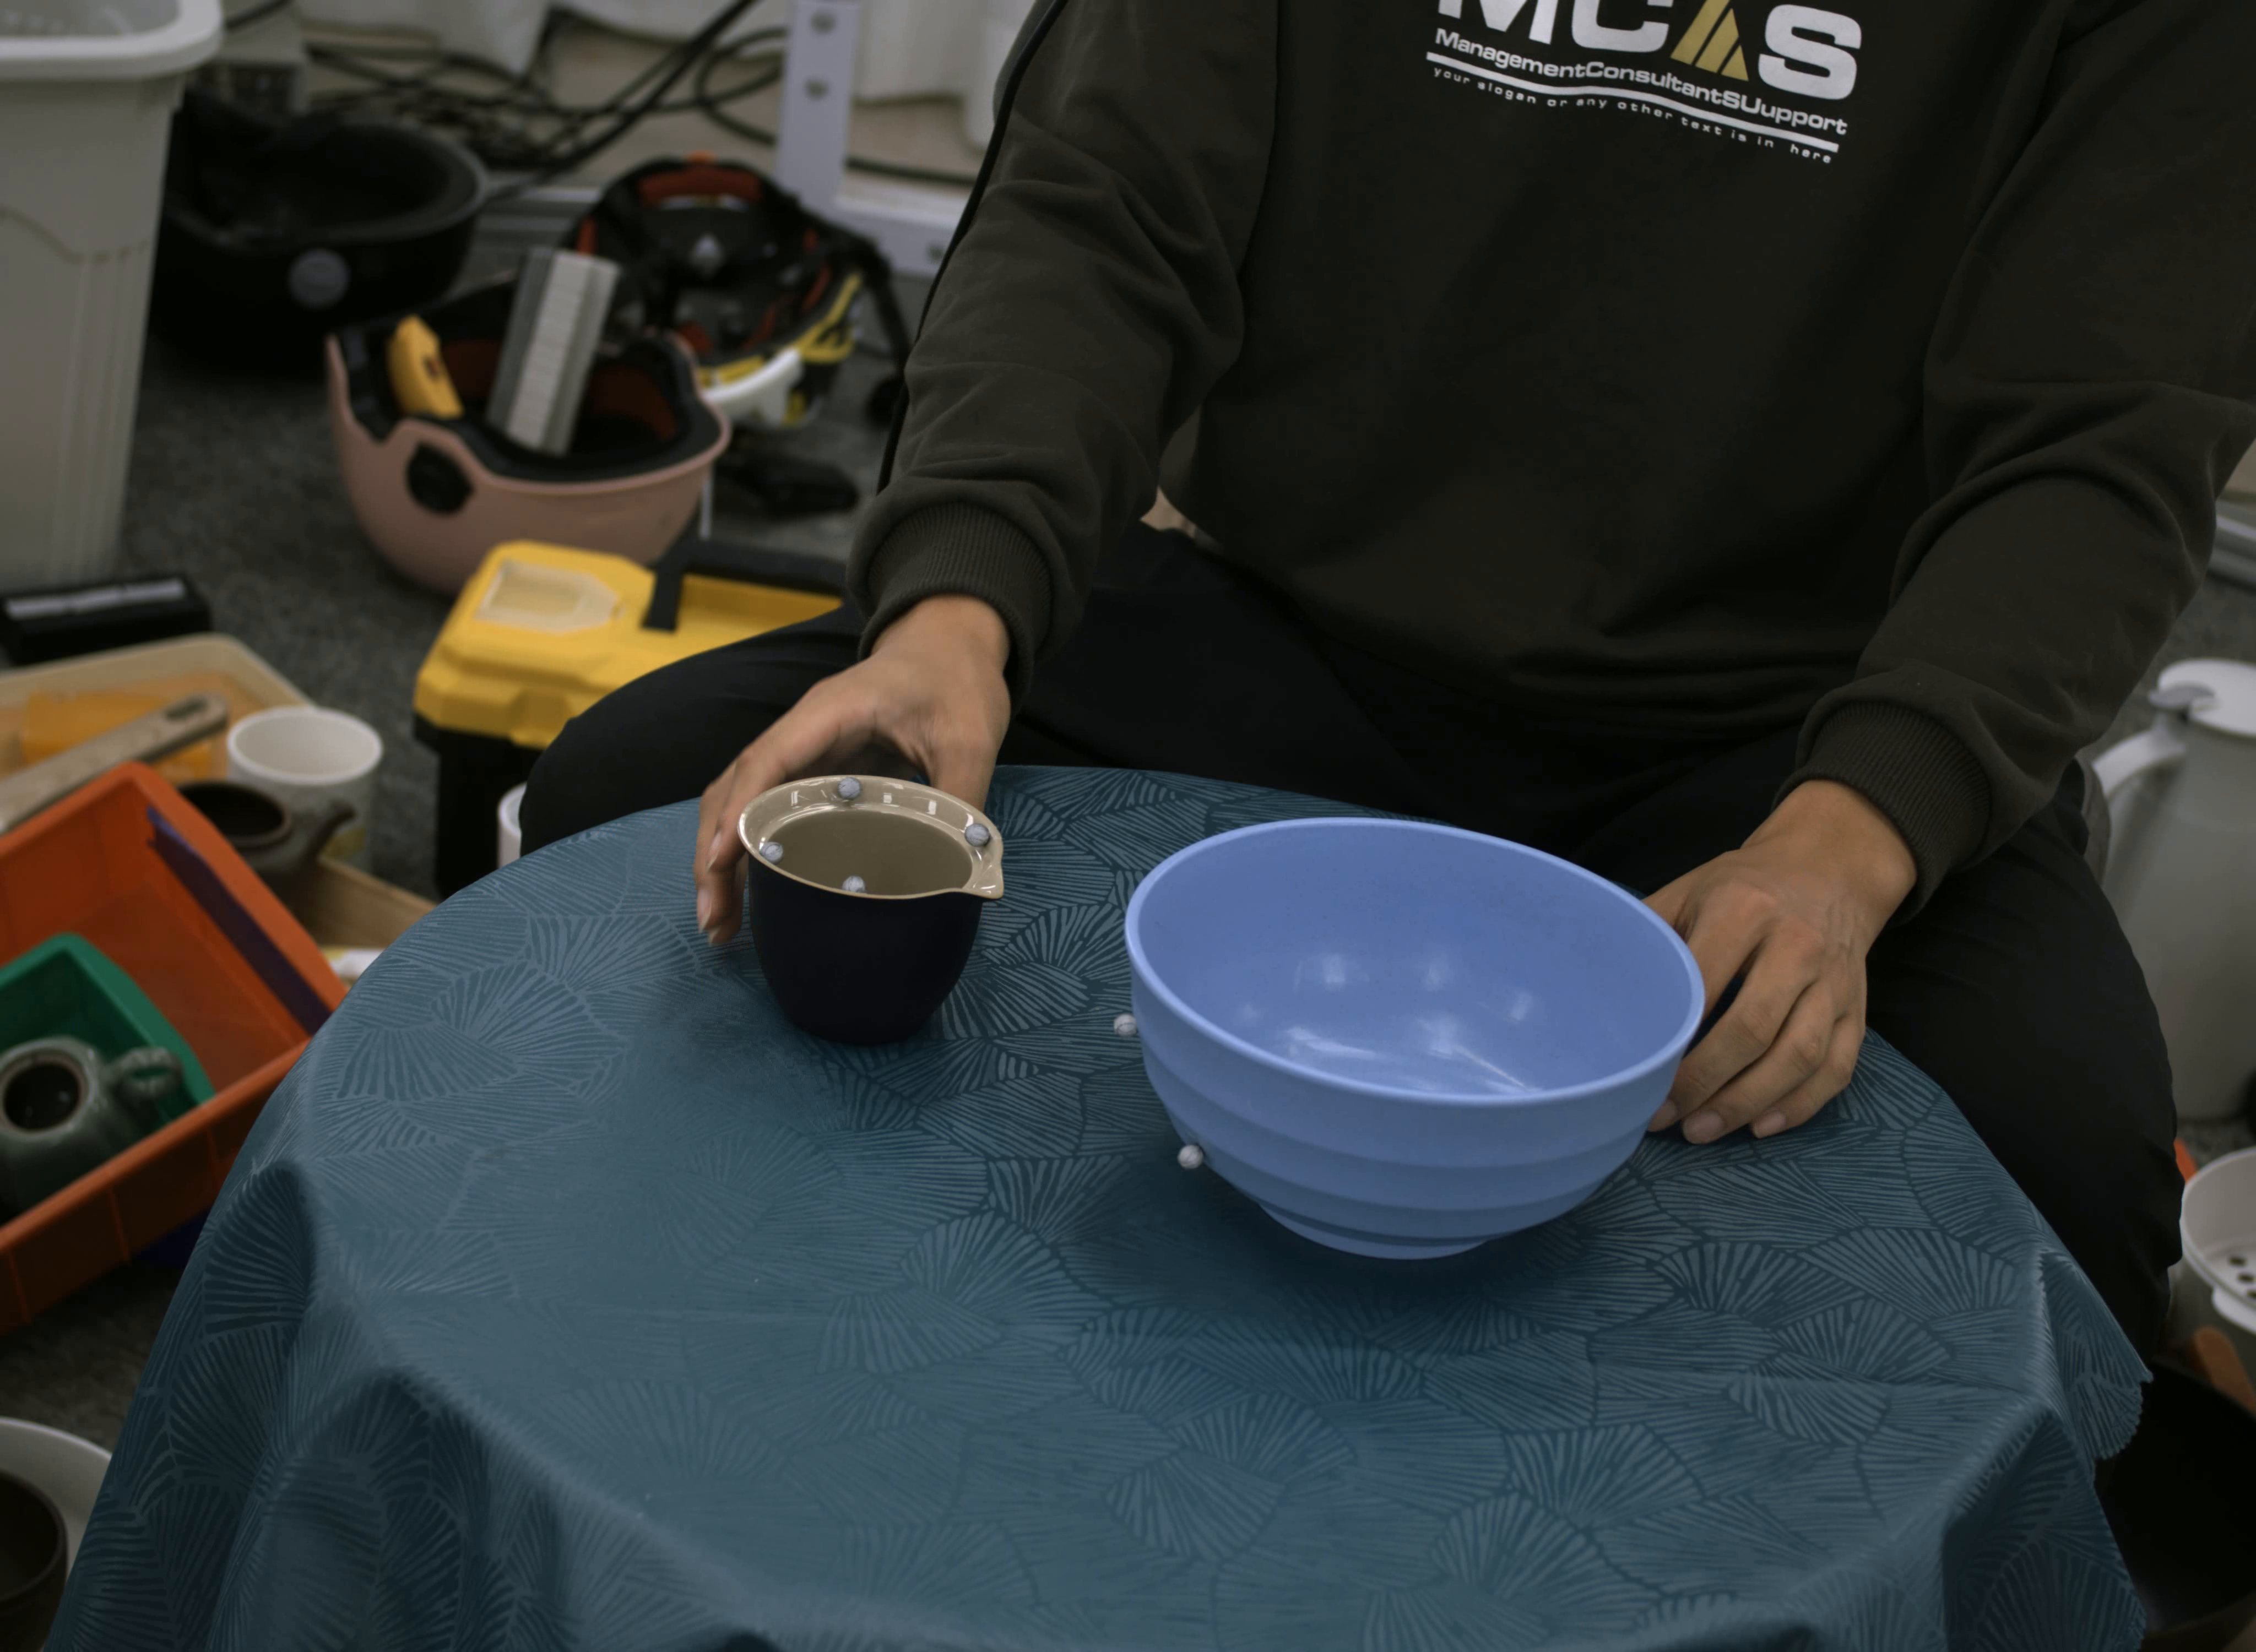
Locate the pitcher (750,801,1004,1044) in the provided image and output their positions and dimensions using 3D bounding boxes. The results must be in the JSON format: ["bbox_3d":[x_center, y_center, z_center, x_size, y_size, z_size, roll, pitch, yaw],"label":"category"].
[{"bbox_3d":[-0.089,0.036,1.879,0.096,0.071,0.083,20,28,26],"label":"pitcher"}]

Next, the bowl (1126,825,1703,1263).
[{"bbox_3d":[0.090,0.084,1.805,0.196,0.095,0.197,7,25,-3],"label":"bowl"}]
